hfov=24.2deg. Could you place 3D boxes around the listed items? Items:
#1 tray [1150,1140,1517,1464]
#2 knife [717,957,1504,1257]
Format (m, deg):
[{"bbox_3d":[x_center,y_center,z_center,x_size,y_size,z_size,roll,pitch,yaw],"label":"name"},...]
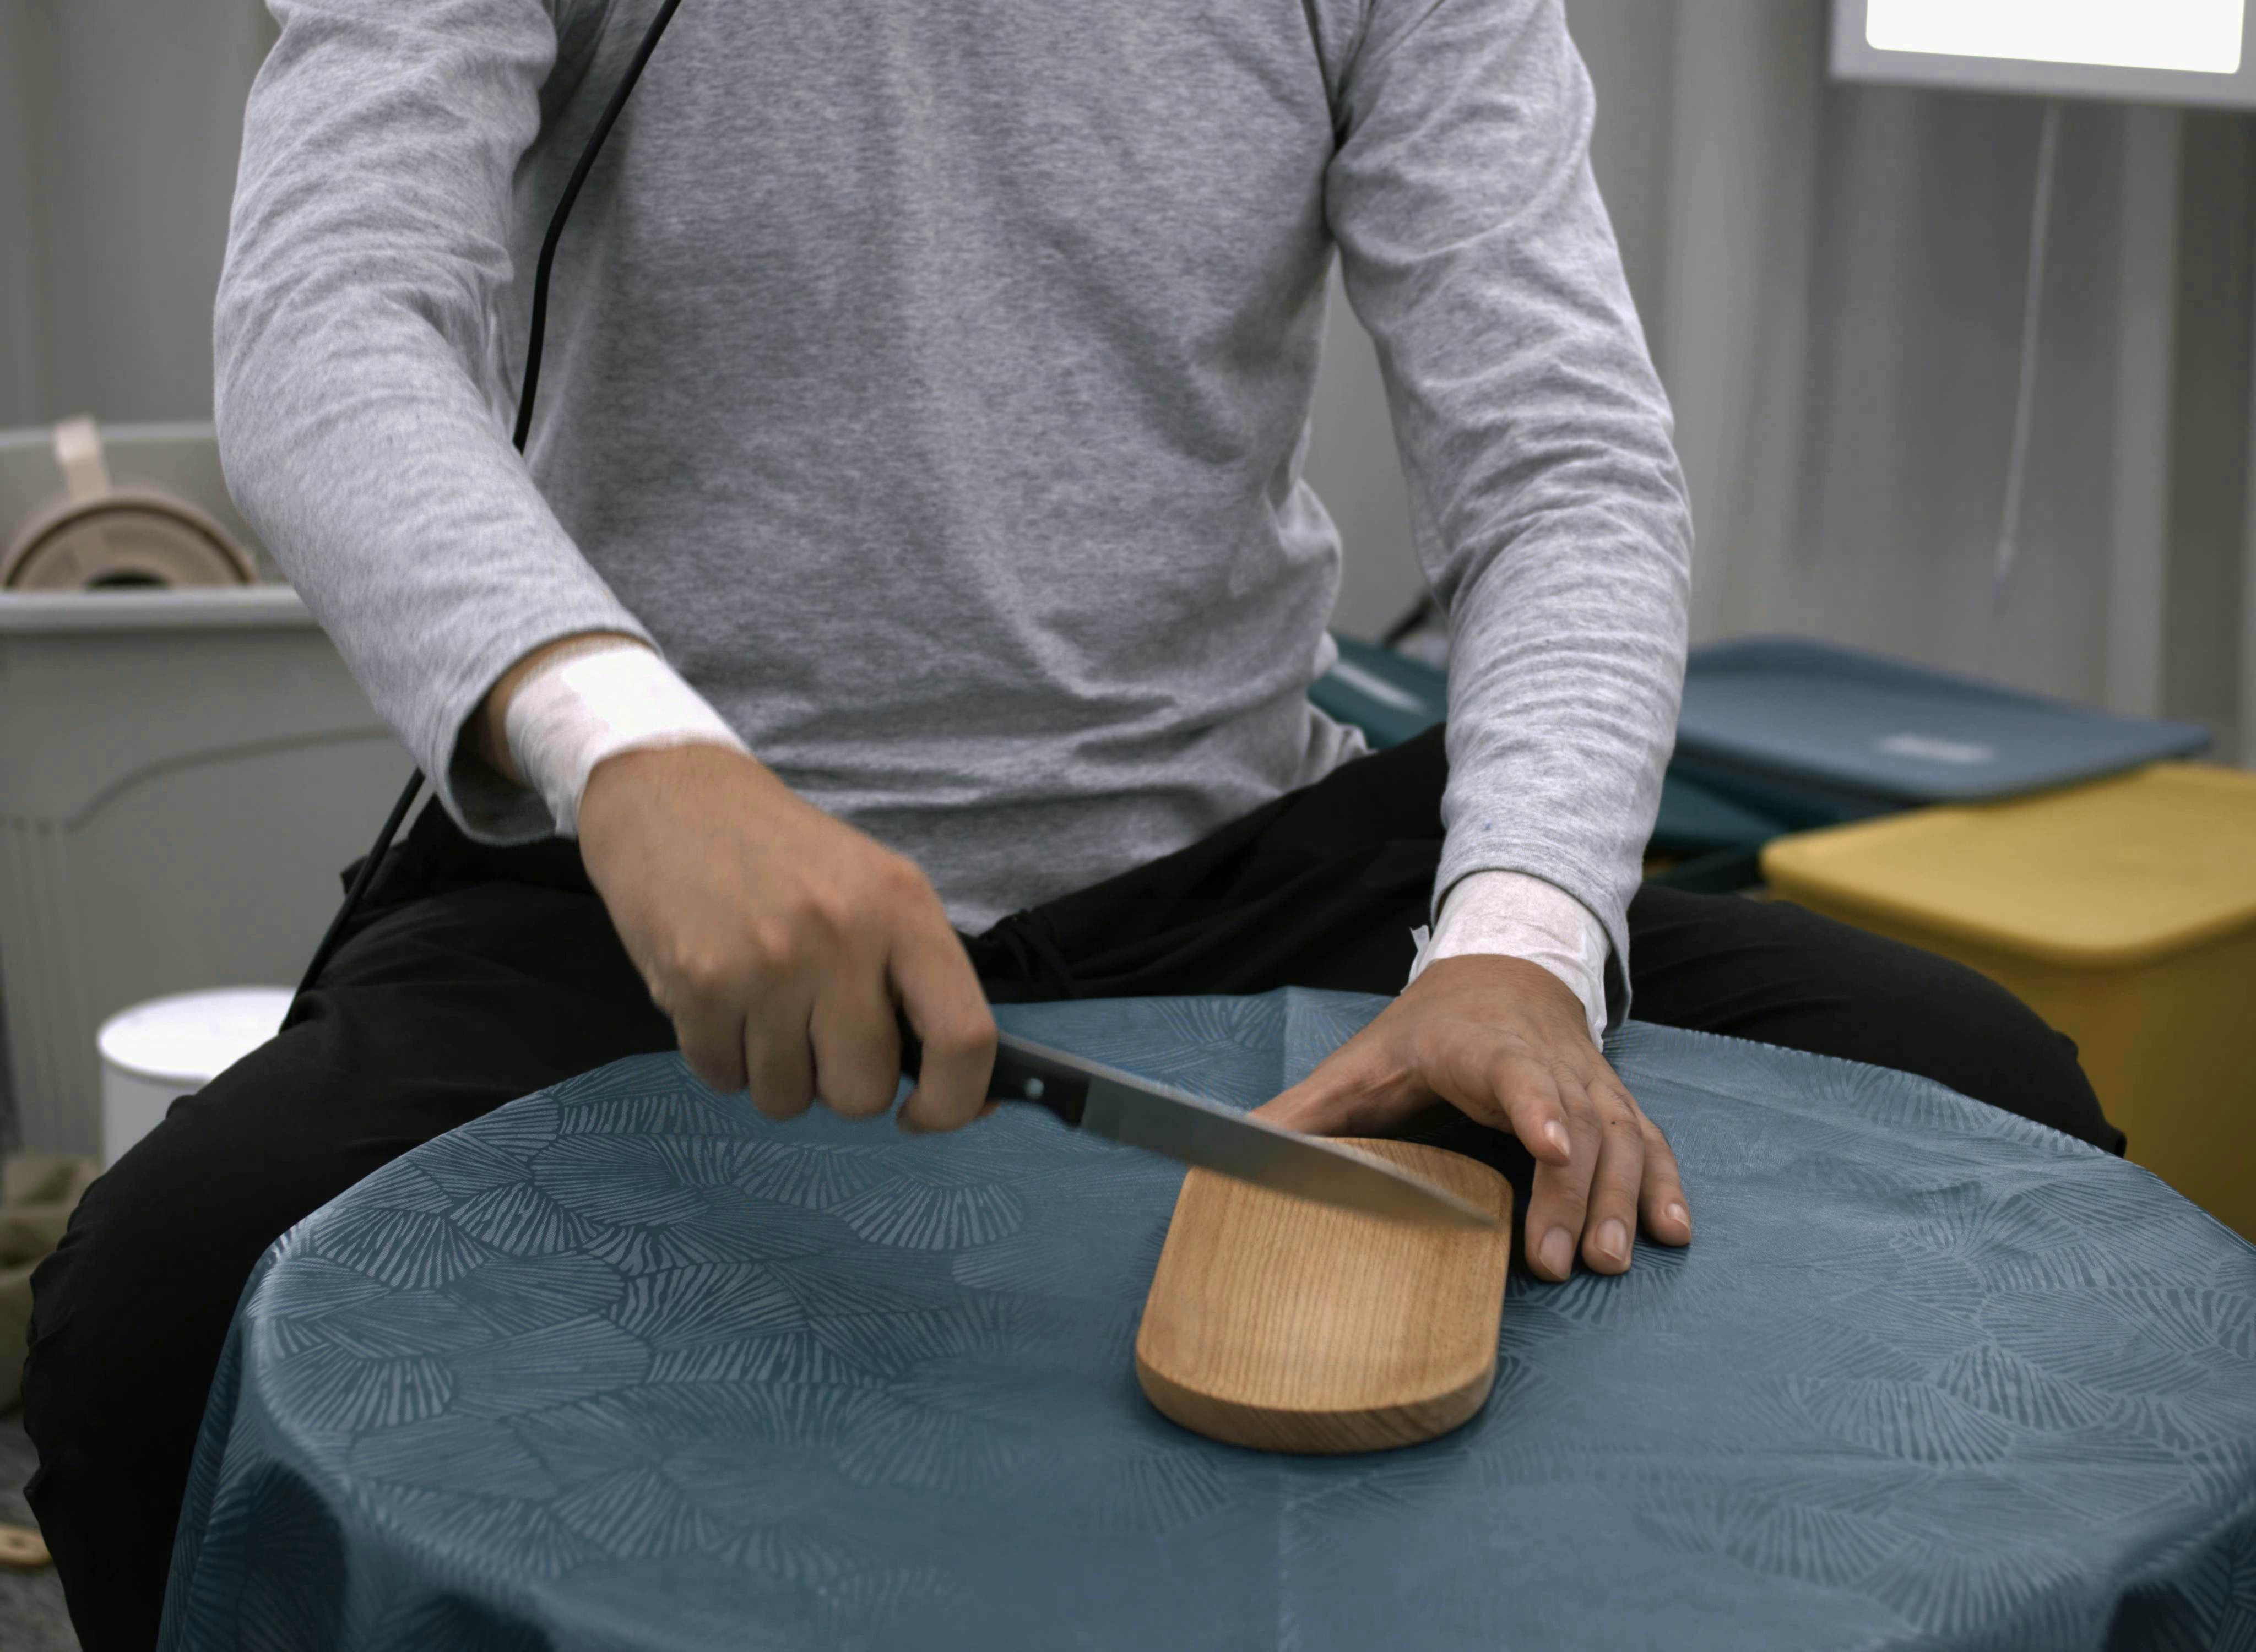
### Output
[{"bbox_3d":[0.061,0.134,1.519,0.101,0.020,0.230,0,17,4],"label":"tray"},{"bbox_3d":[-0.005,0.080,1.485,0.236,0.024,0.016,18,26,10],"label":"knife"}]
